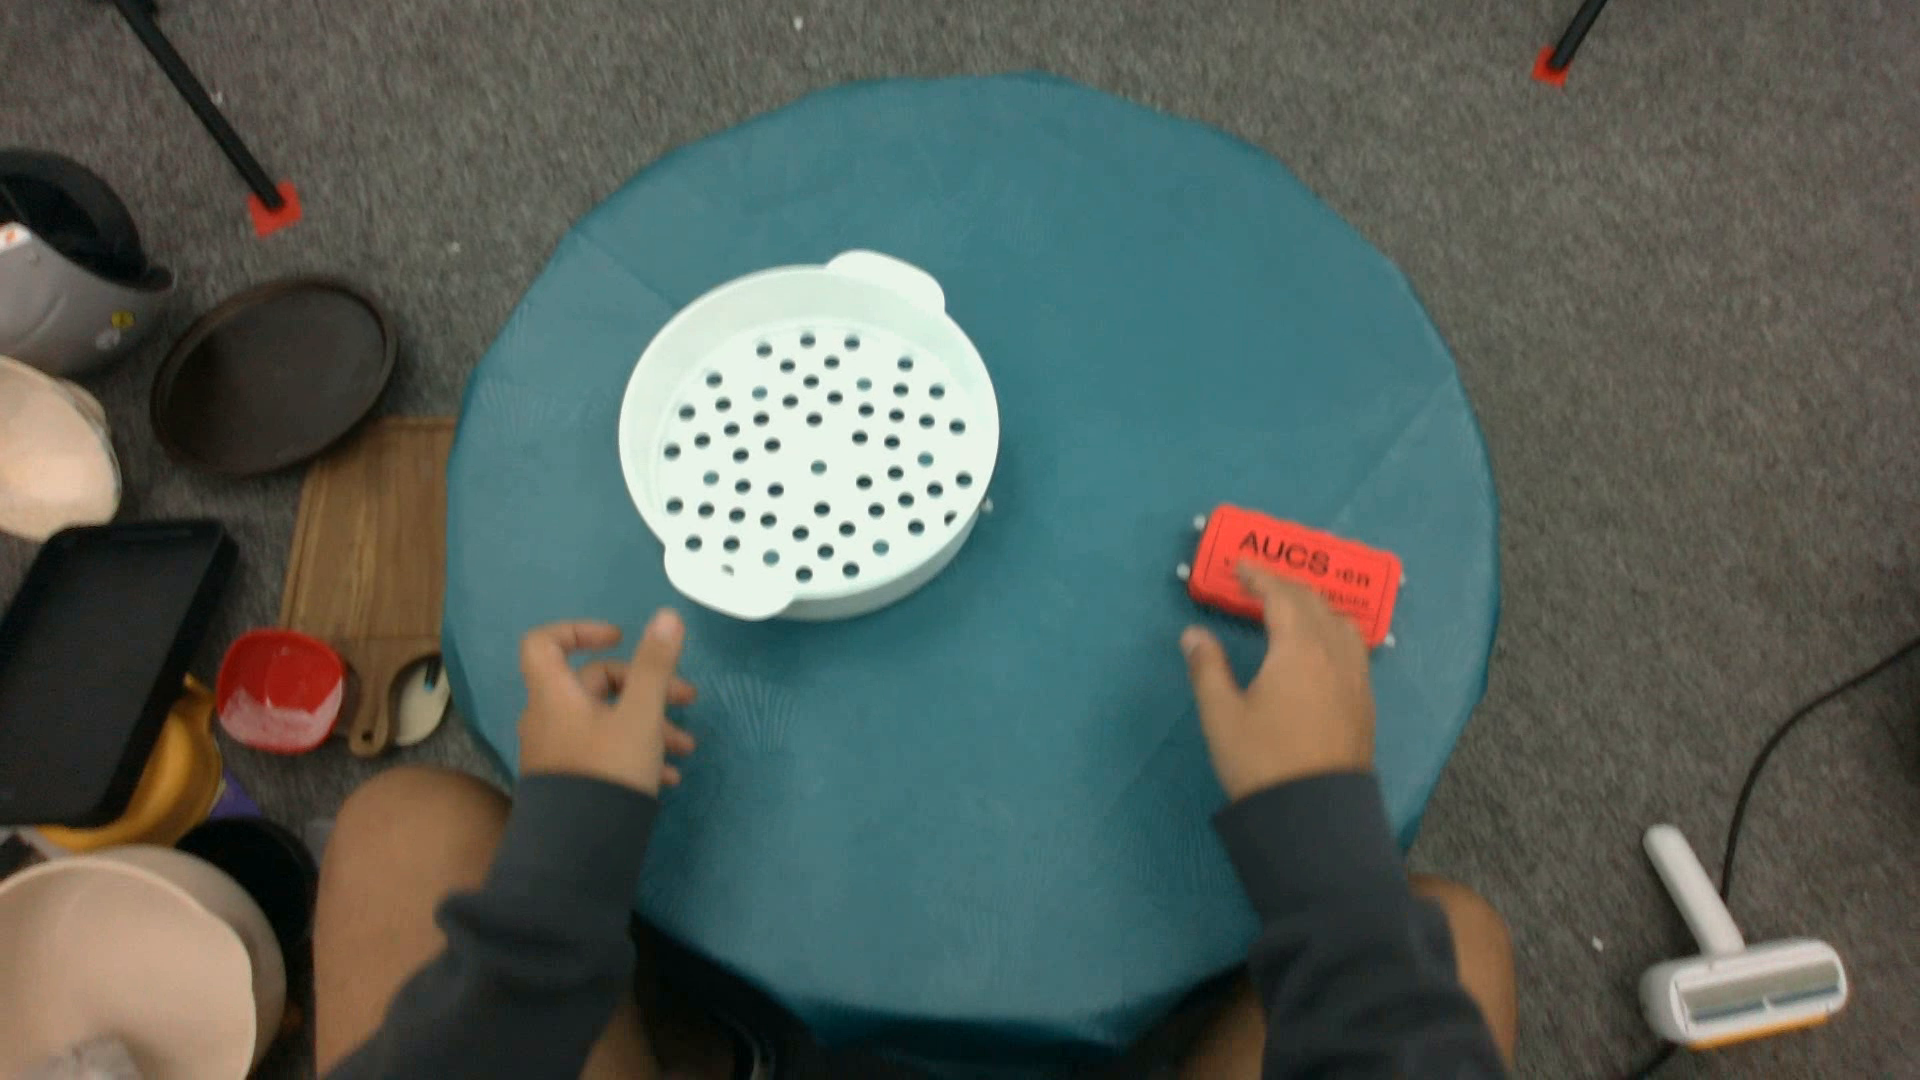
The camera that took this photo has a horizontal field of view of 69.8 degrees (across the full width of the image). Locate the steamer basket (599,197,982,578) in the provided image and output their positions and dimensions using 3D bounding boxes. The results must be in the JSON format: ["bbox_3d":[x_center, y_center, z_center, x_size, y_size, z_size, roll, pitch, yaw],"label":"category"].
[{"bbox_3d":[-0.091,-0.078,0.755,0.202,0.069,0.231,22,70,4],"label":"steamer basket"}]

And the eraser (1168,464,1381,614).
[{"bbox_3d":[0.173,0.000,0.759,0.108,0.023,0.059,17,76,2],"label":"eraser"}]
